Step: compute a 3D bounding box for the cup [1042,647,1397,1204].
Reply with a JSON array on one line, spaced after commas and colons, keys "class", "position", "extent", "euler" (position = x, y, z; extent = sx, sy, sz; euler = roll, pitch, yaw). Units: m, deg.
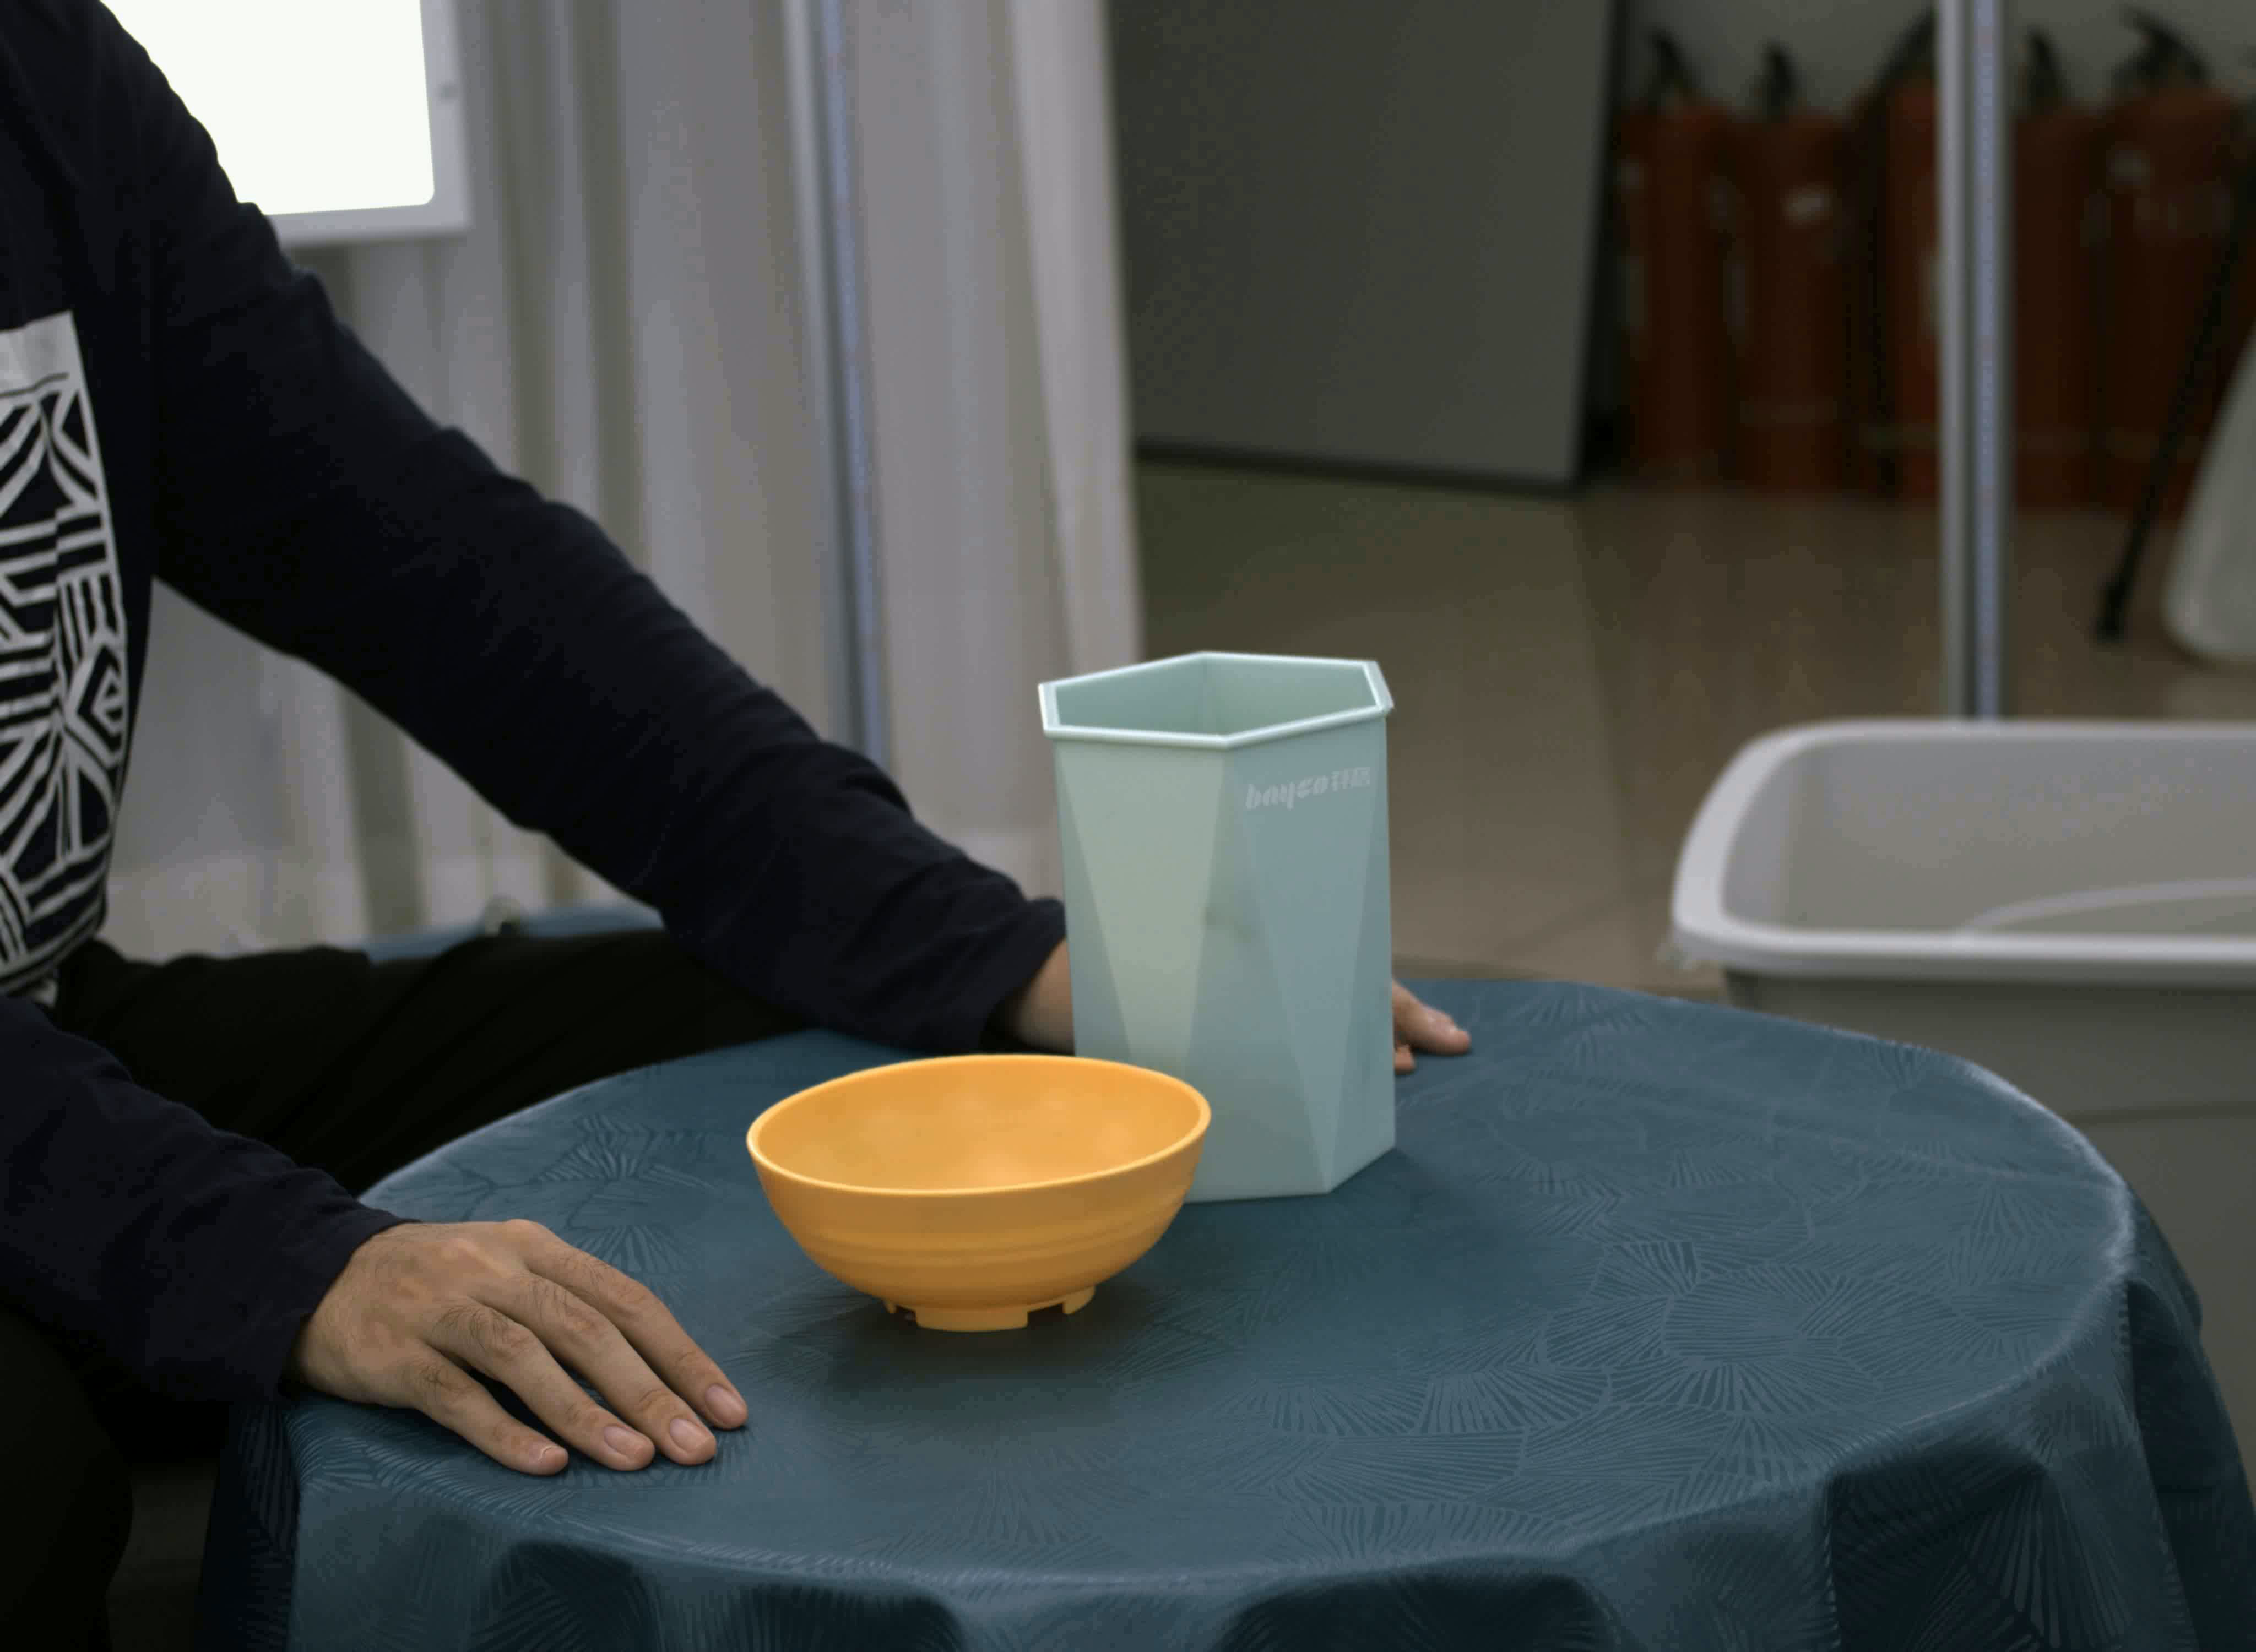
[{"class": "cup", "position": [0.034, 0.032, 1.782], "extent": [0.128, 0.165, 0.116], "euler": [-11, 14, -31]}]

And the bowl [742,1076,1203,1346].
[{"class": "bowl", "position": [-0.046, 0.123, 1.671], "extent": [0.143, 0.061, 0.145], "euler": [-5, 11, 0]}]
